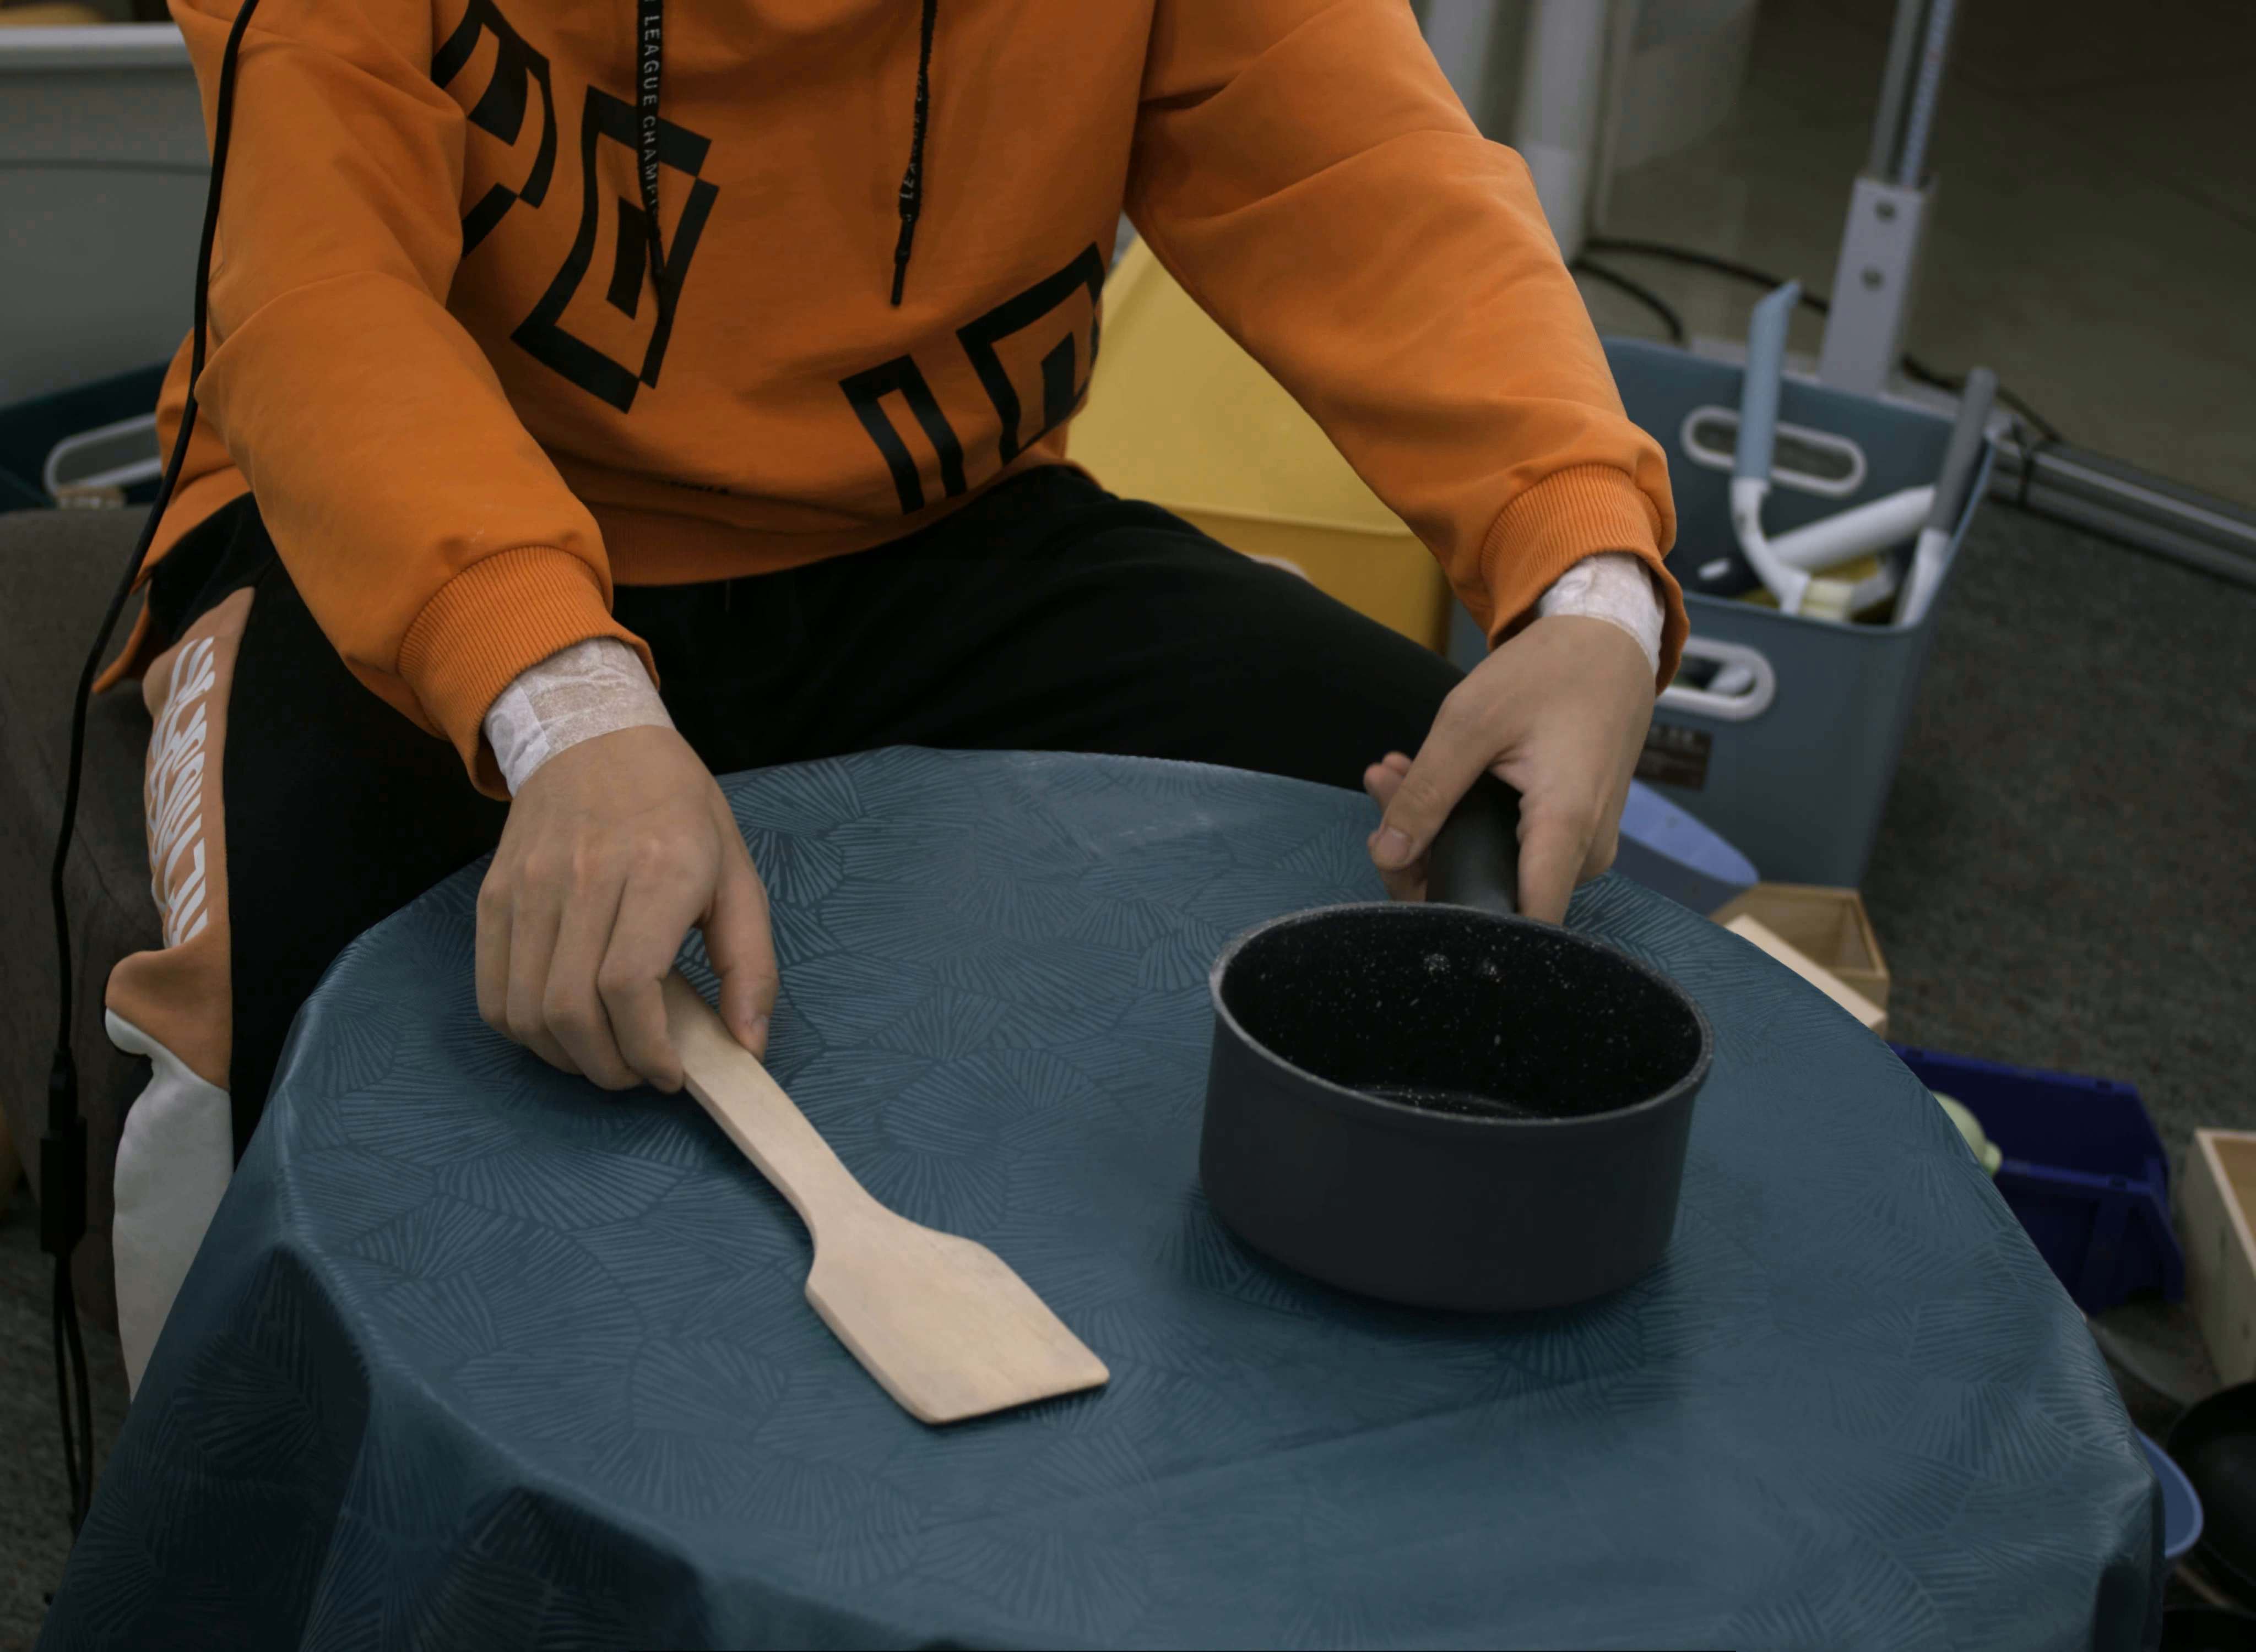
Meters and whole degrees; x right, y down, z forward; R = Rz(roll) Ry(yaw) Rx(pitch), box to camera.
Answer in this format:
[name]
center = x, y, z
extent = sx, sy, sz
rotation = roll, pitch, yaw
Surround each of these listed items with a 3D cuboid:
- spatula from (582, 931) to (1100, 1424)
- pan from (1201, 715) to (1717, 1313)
[spatula]
center = -0.111, 0.112, 1.780
extent = 0.072, 0.010, 0.296
rotation = -13, 36, -28
[pan]
center = 0.119, 0.061, 1.862
extent = 0.172, 0.086, 0.330
rotation = 10, 25, 6
